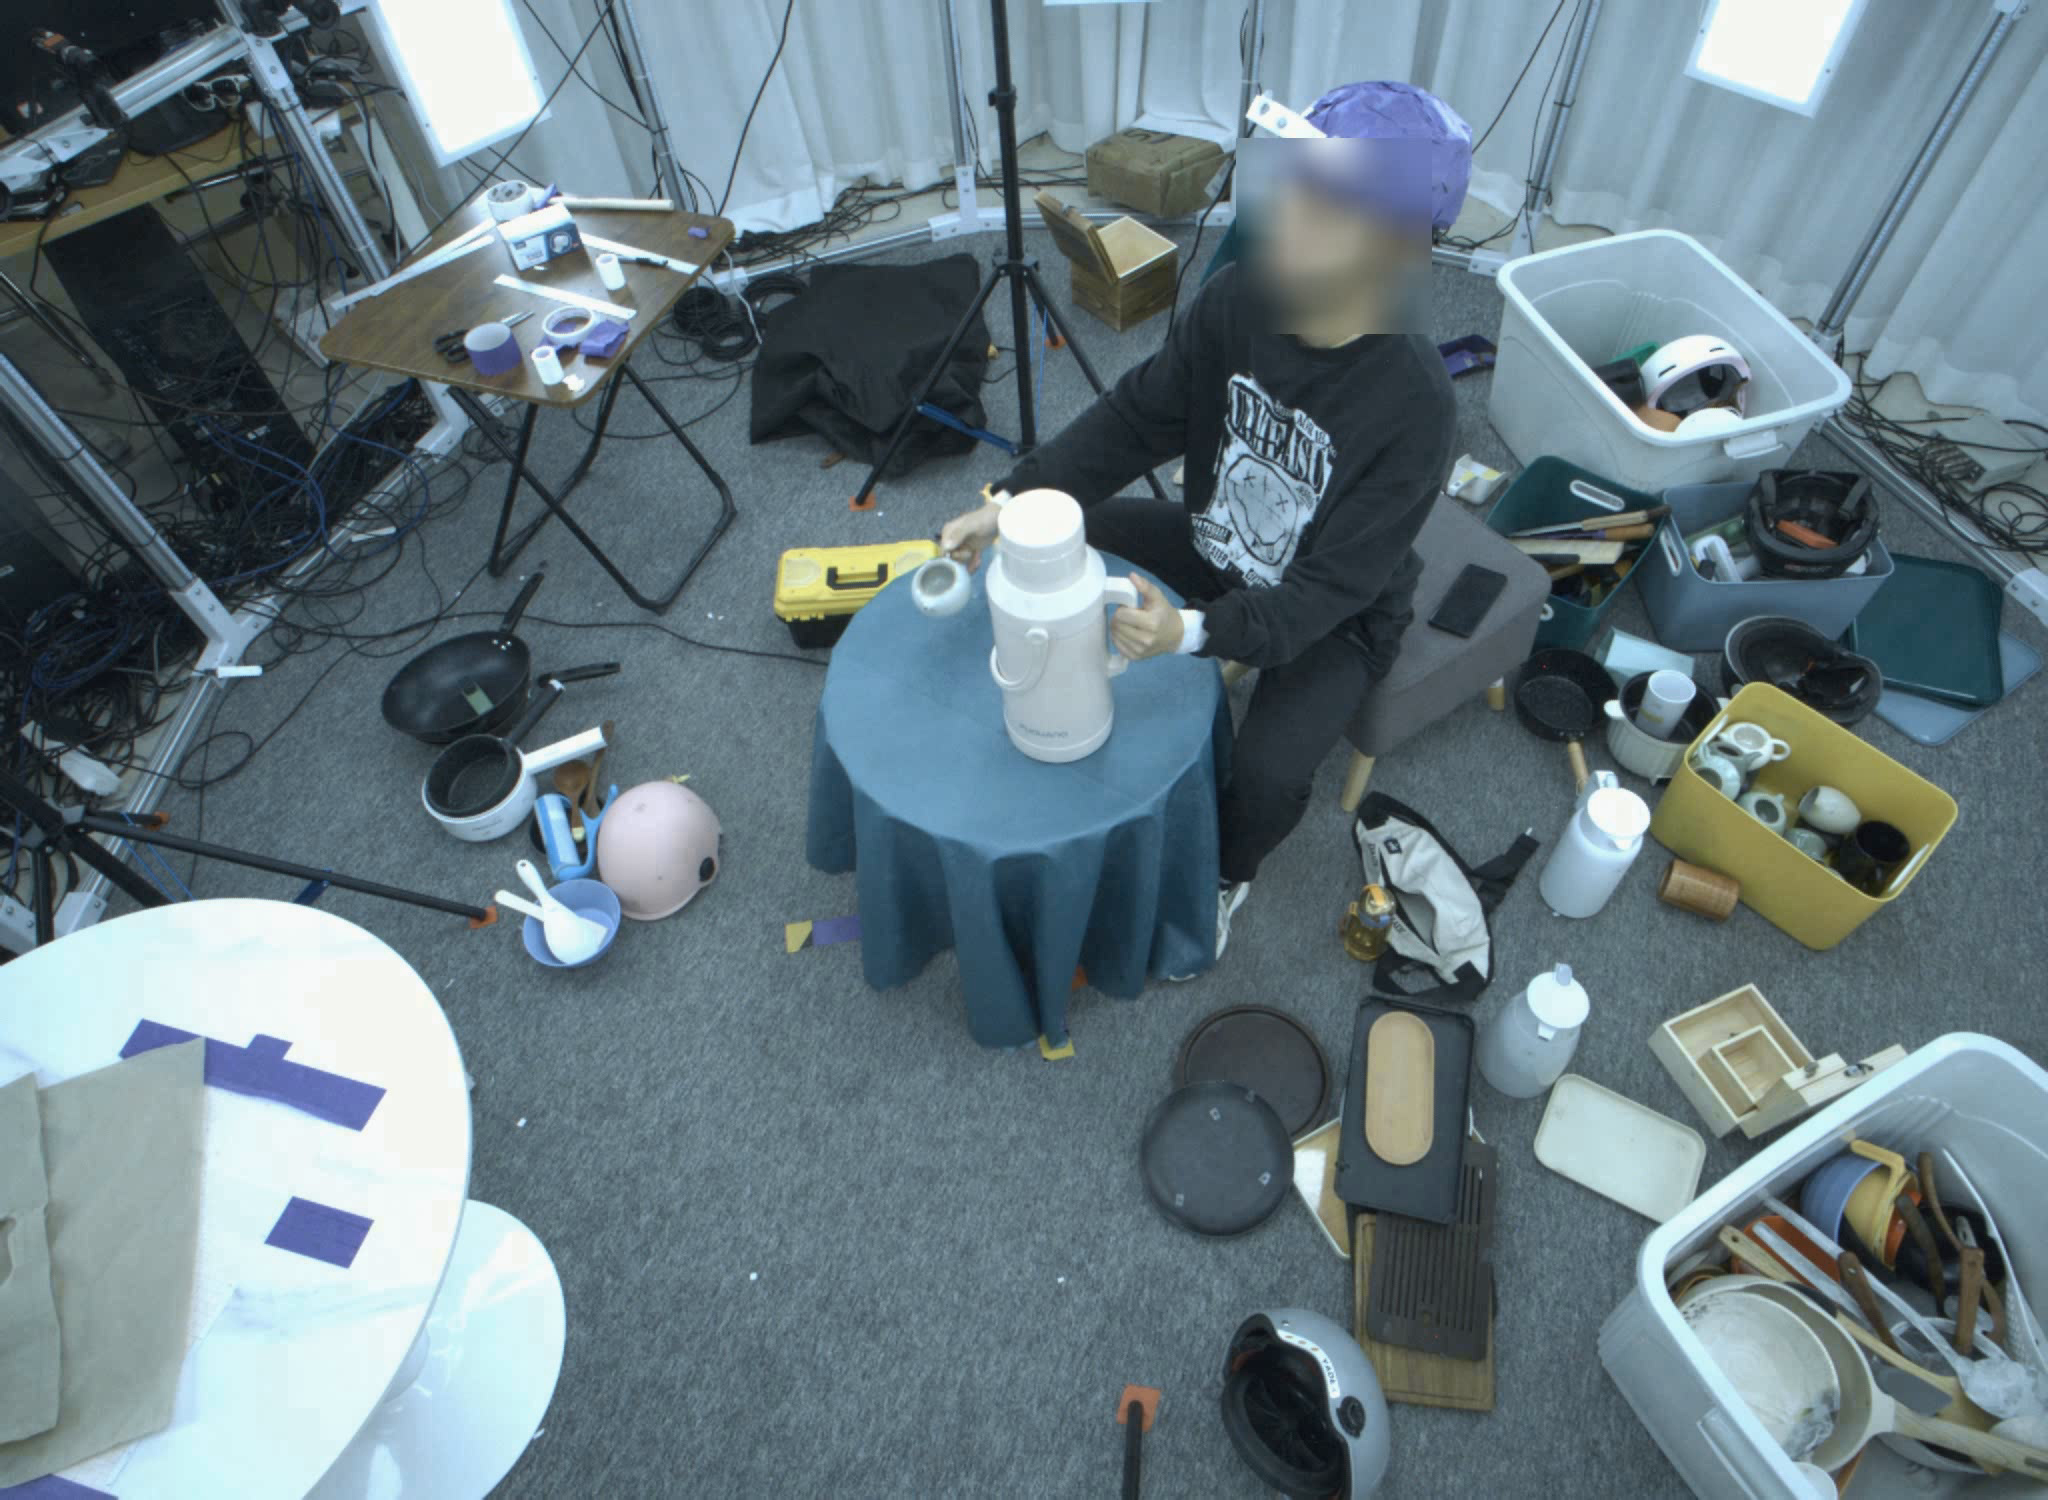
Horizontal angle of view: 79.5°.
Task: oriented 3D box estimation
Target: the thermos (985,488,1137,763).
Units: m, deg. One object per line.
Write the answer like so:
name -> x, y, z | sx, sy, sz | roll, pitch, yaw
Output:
thermos -> 0.049, -0.162, 1.649 | 0.206, 0.411, 0.174 | 3, 52, 8

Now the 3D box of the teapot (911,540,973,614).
teapot -> -0.119, -0.252, 1.802 | 0.091, 0.060, 0.127 | 8, 68, 17
